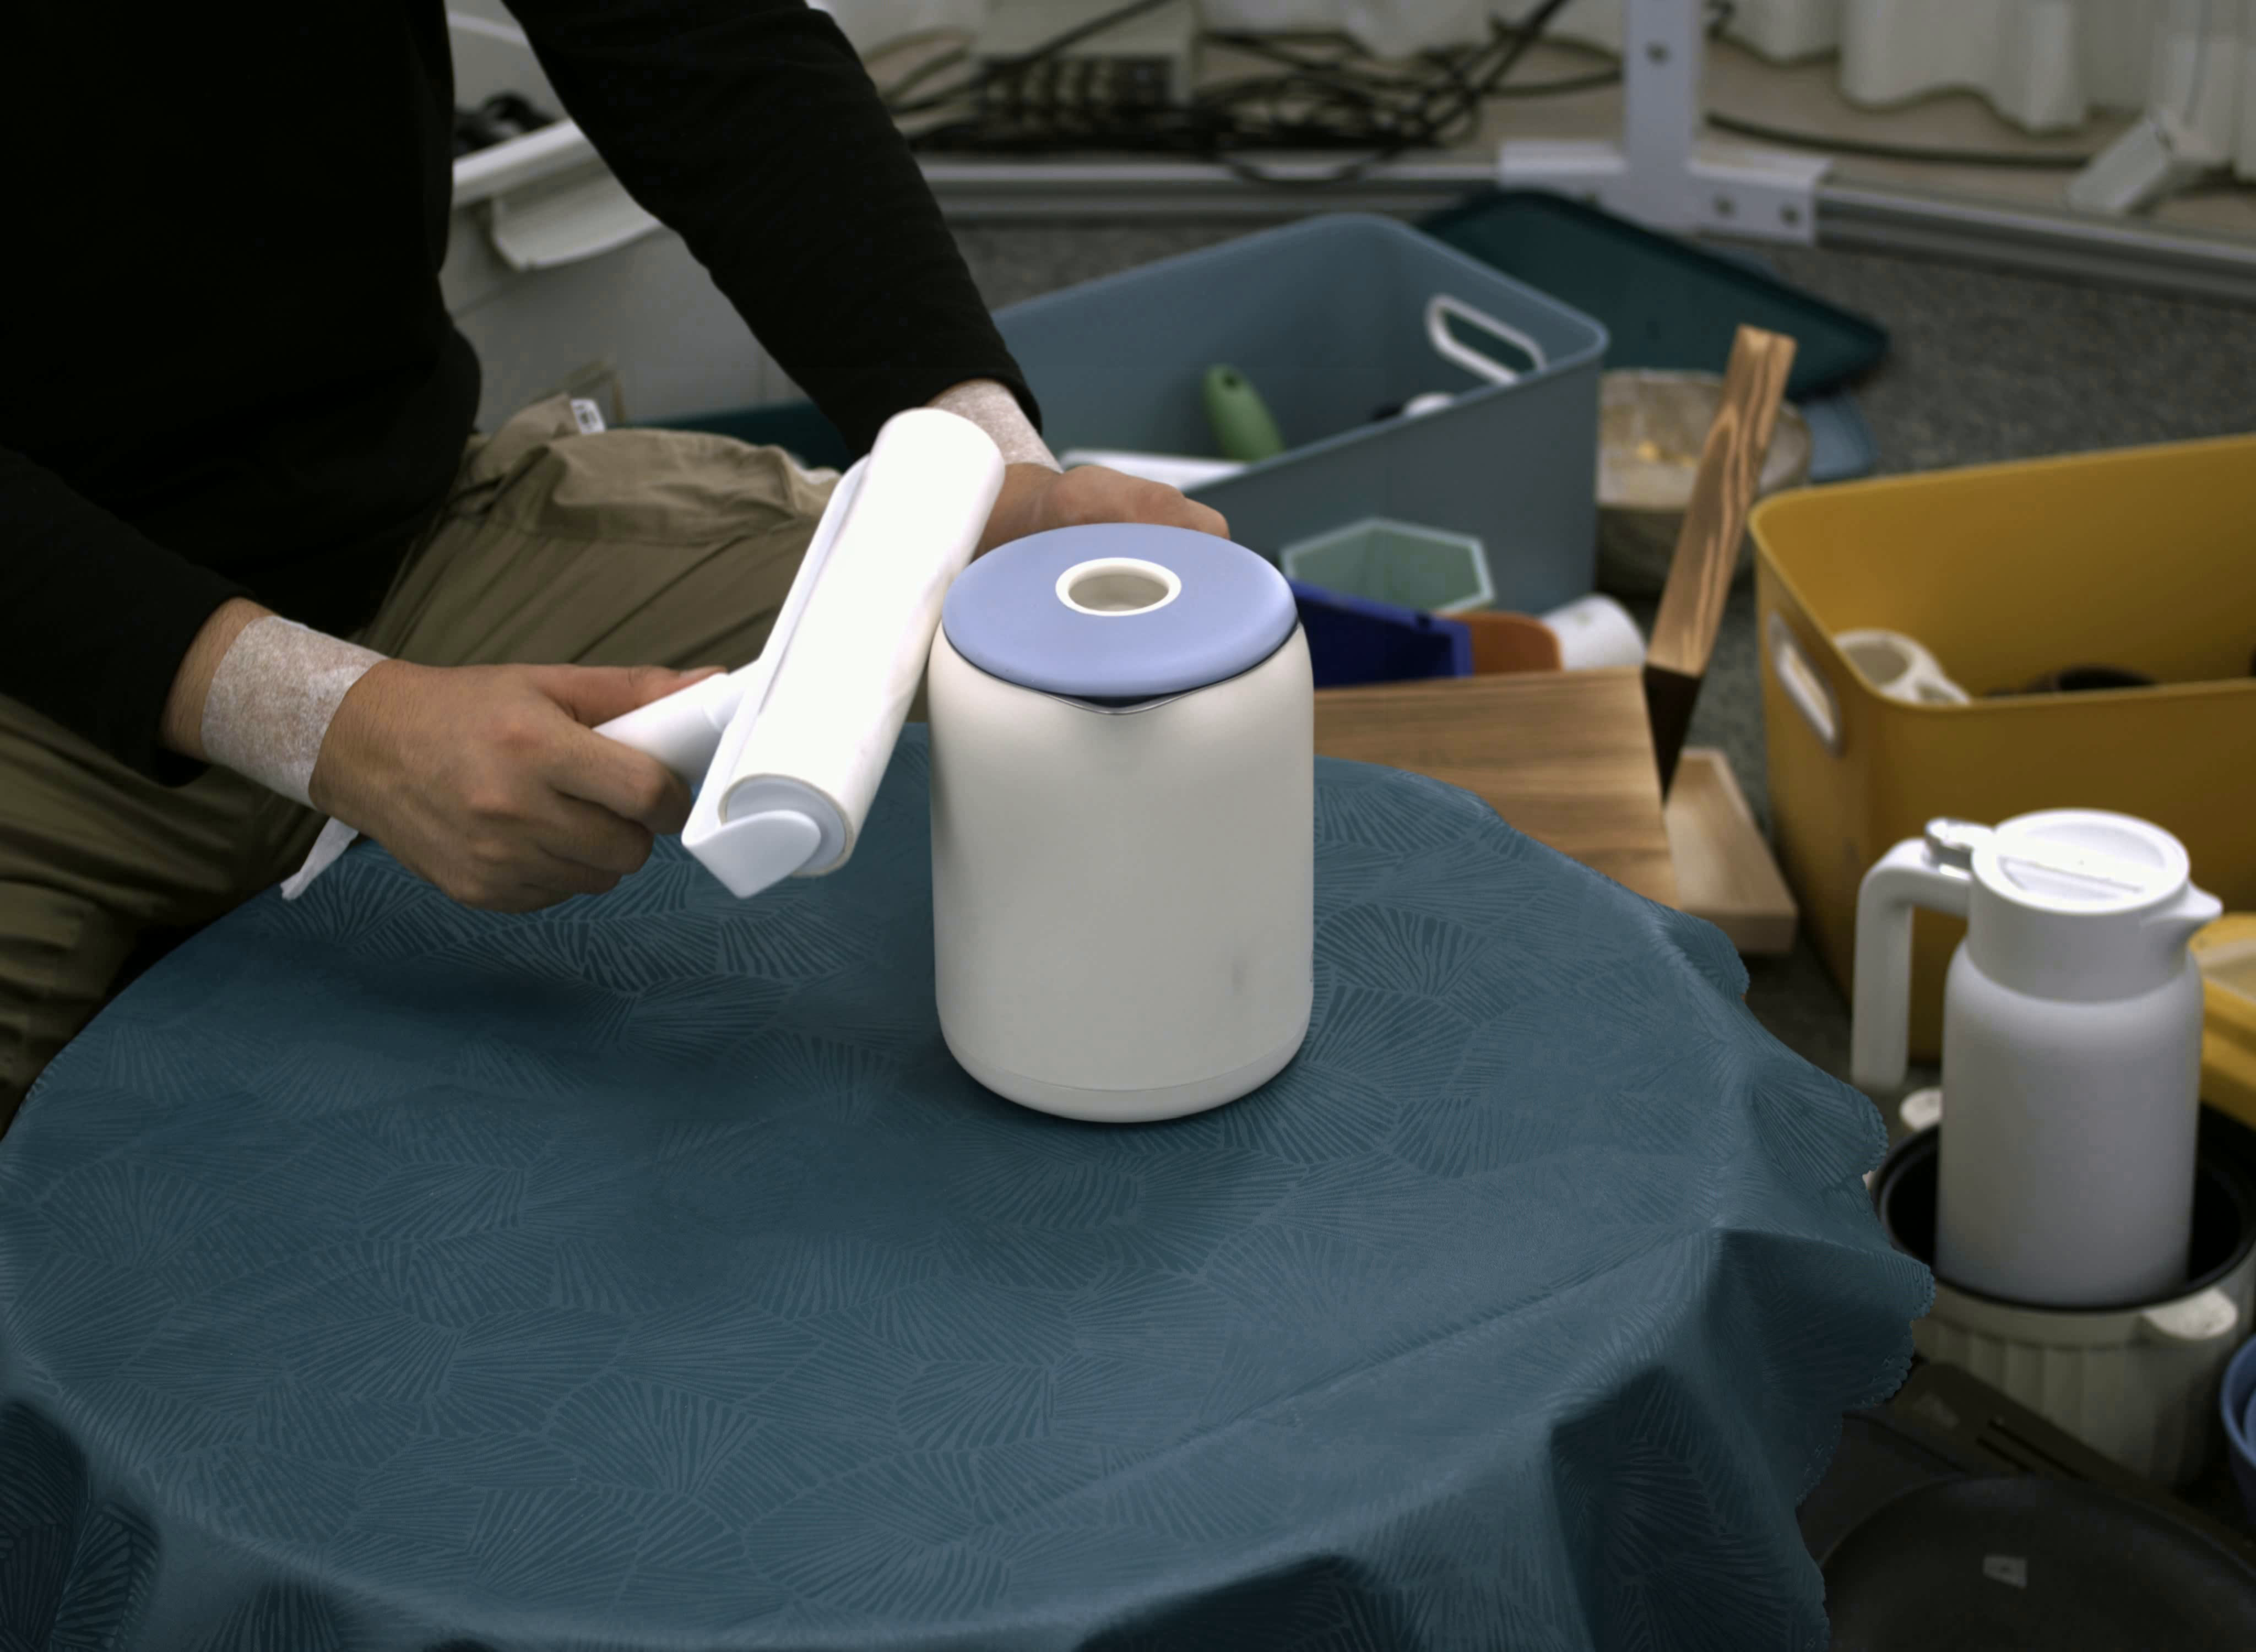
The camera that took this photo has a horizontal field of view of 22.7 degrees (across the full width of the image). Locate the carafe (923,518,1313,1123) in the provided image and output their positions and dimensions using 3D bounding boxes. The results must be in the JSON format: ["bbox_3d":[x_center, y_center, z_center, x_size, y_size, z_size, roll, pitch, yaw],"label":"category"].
[{"bbox_3d":[-0.003,-0.014,1.932,0.131,0.180,0.194,-1,26,-2],"label":"carafe"}]

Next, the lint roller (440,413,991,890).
[{"bbox_3d":[-0.159,-0.037,1.940,0.222,0.048,0.207,-21,32,31],"label":"lint roller"}]
